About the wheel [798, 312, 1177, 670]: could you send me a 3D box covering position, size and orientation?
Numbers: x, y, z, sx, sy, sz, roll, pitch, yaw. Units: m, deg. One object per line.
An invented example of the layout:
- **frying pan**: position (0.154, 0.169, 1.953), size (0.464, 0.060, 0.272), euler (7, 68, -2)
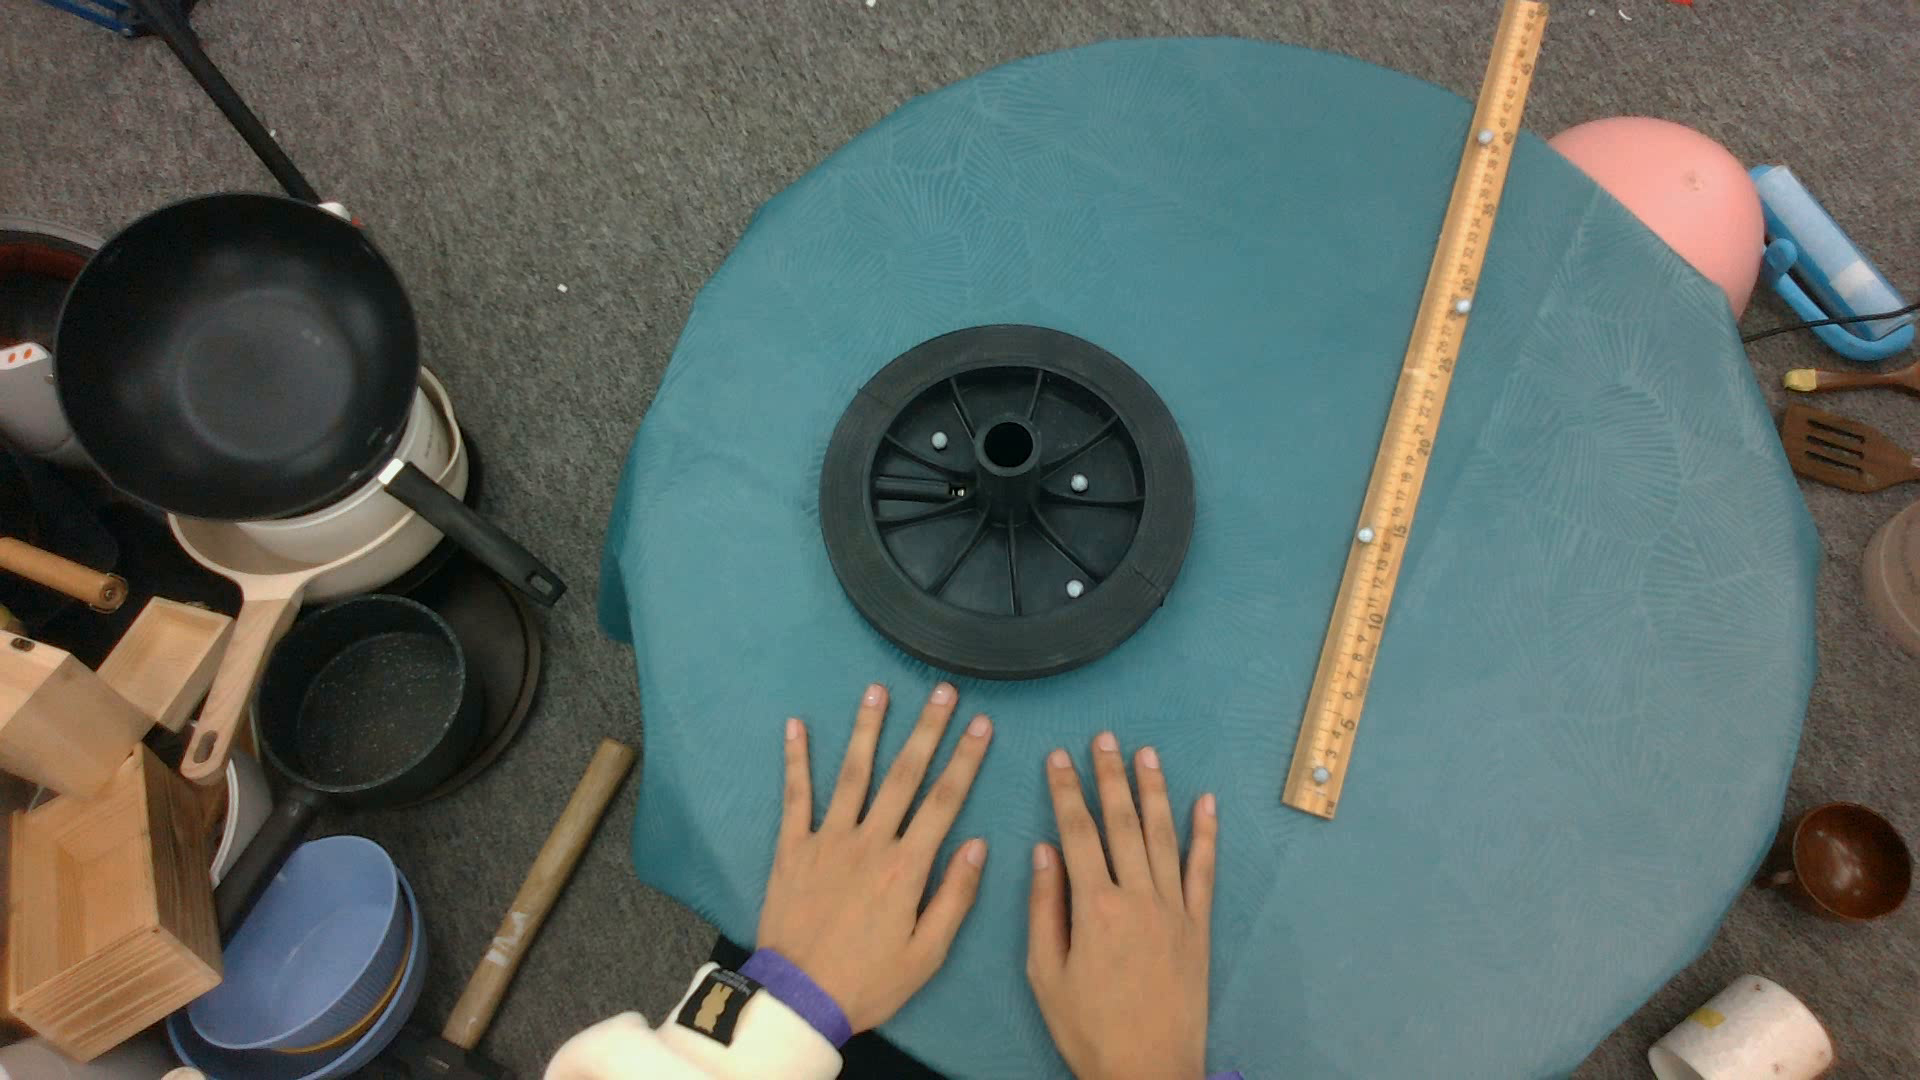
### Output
- **wheel**: position (0.014, -0.035, 0.670), size (0.190, 0.079, 0.188), euler (-17, 70, -5)

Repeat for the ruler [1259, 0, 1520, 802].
- **ruler**: position (0.237, -0.101, 0.732), size (0.027, 0.006, 0.502), euler (19, 71, 5)
